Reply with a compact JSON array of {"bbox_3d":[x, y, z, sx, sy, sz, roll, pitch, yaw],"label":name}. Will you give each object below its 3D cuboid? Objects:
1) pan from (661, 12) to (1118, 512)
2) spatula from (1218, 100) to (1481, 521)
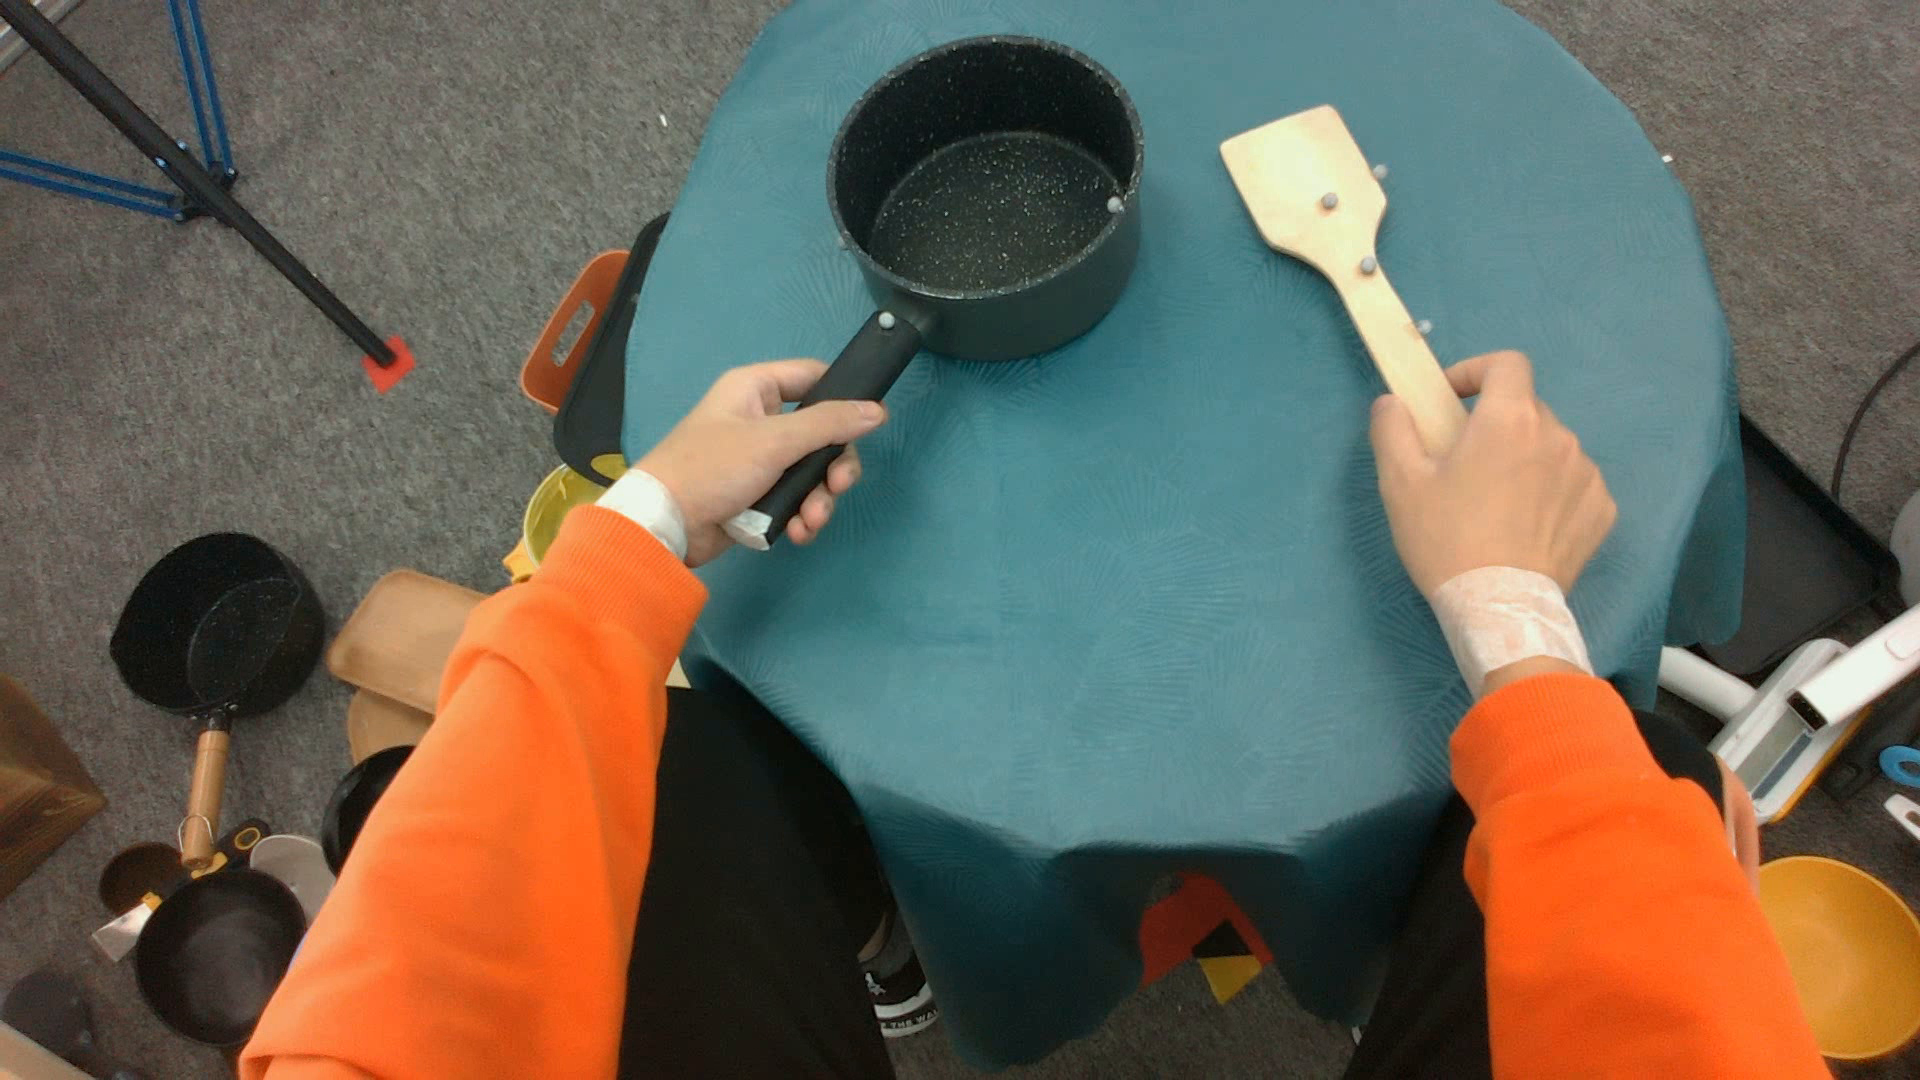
[{"bbox_3d":[-0.039,-0.137,0.737,0.172,0.086,0.330,27,71,19],"label":"pan"},{"bbox_3d":[0.209,-0.130,0.725,0.072,0.010,0.294,-14,56,3],"label":"spatula"}]
